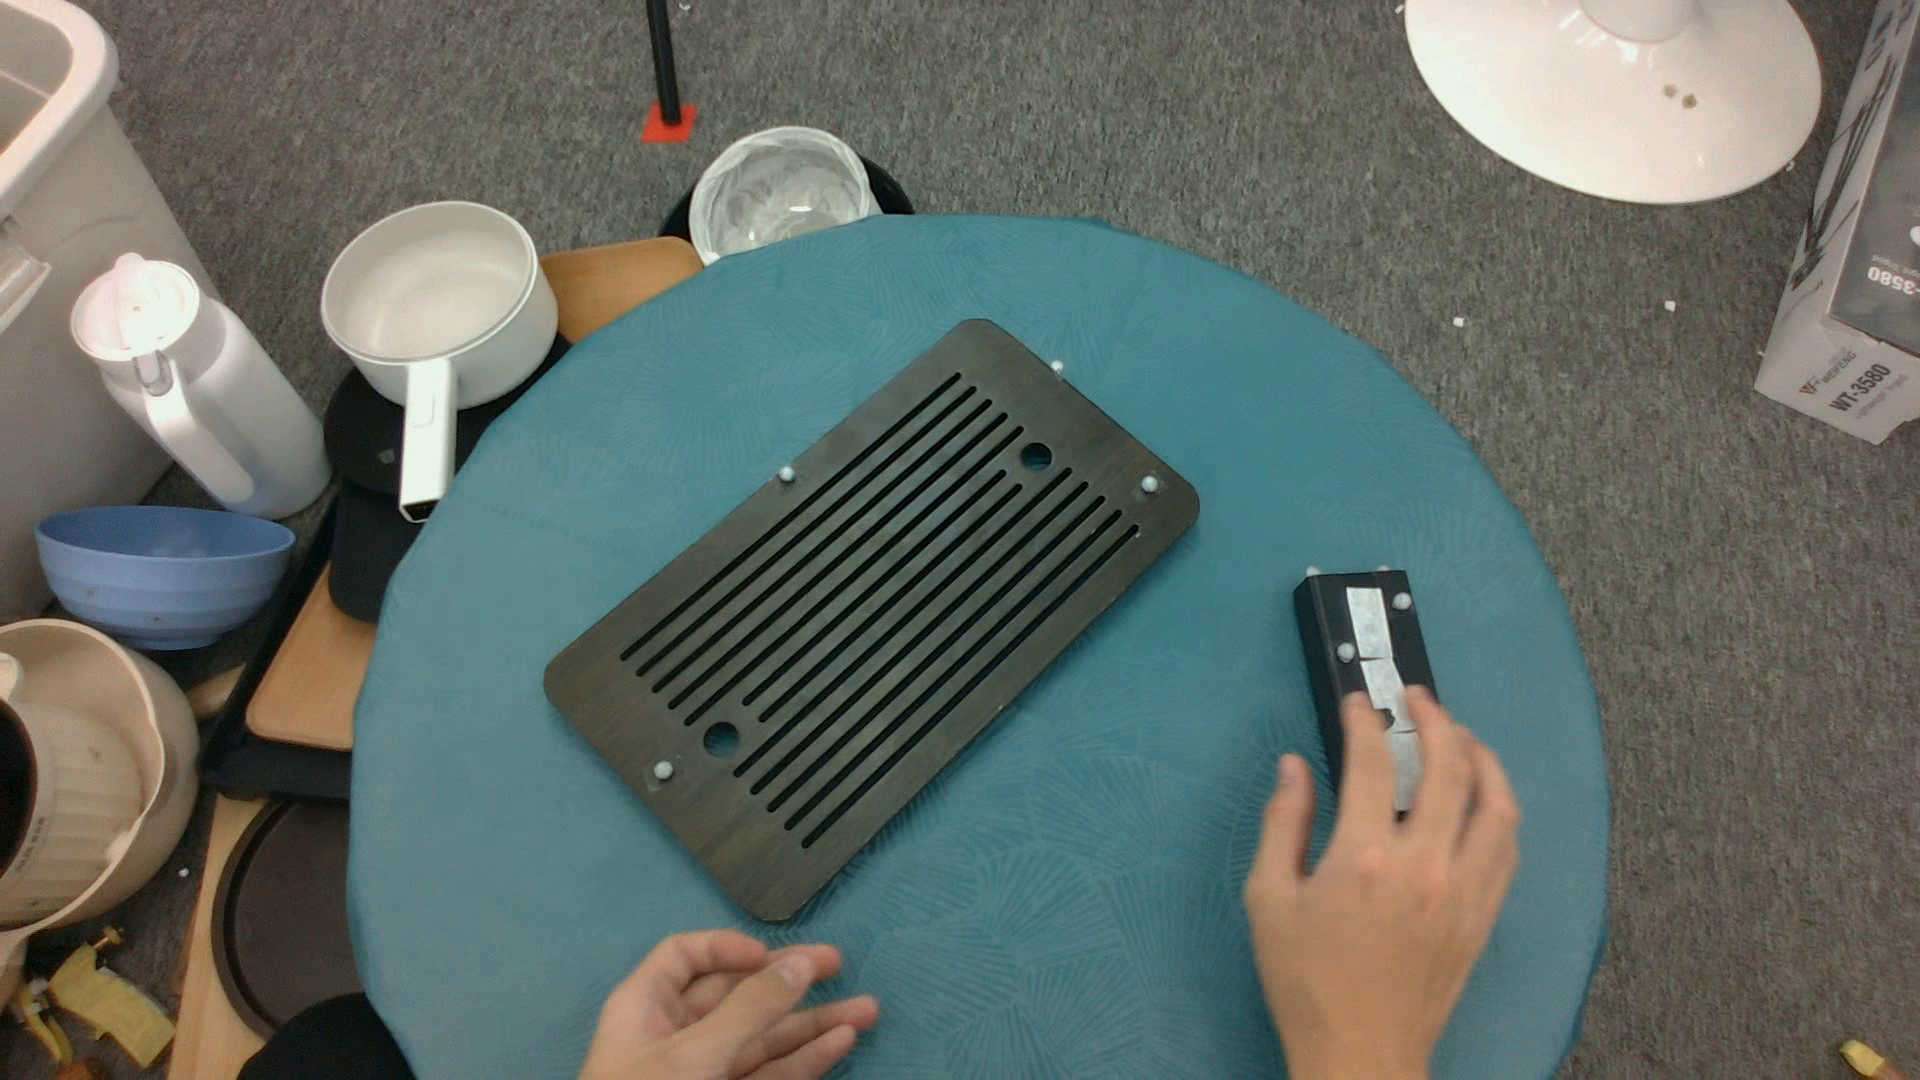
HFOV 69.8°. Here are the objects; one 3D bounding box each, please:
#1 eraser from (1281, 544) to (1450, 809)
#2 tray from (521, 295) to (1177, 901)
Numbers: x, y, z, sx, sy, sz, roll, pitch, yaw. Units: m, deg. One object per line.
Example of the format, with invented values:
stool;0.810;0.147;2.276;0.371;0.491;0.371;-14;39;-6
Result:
eraser;0.193;0.065;0.665;0.053;0.030;0.126;-5;65;-3
tray;-0.048;0.015;0.683;0.170;0.018;0.307;42;69;16
